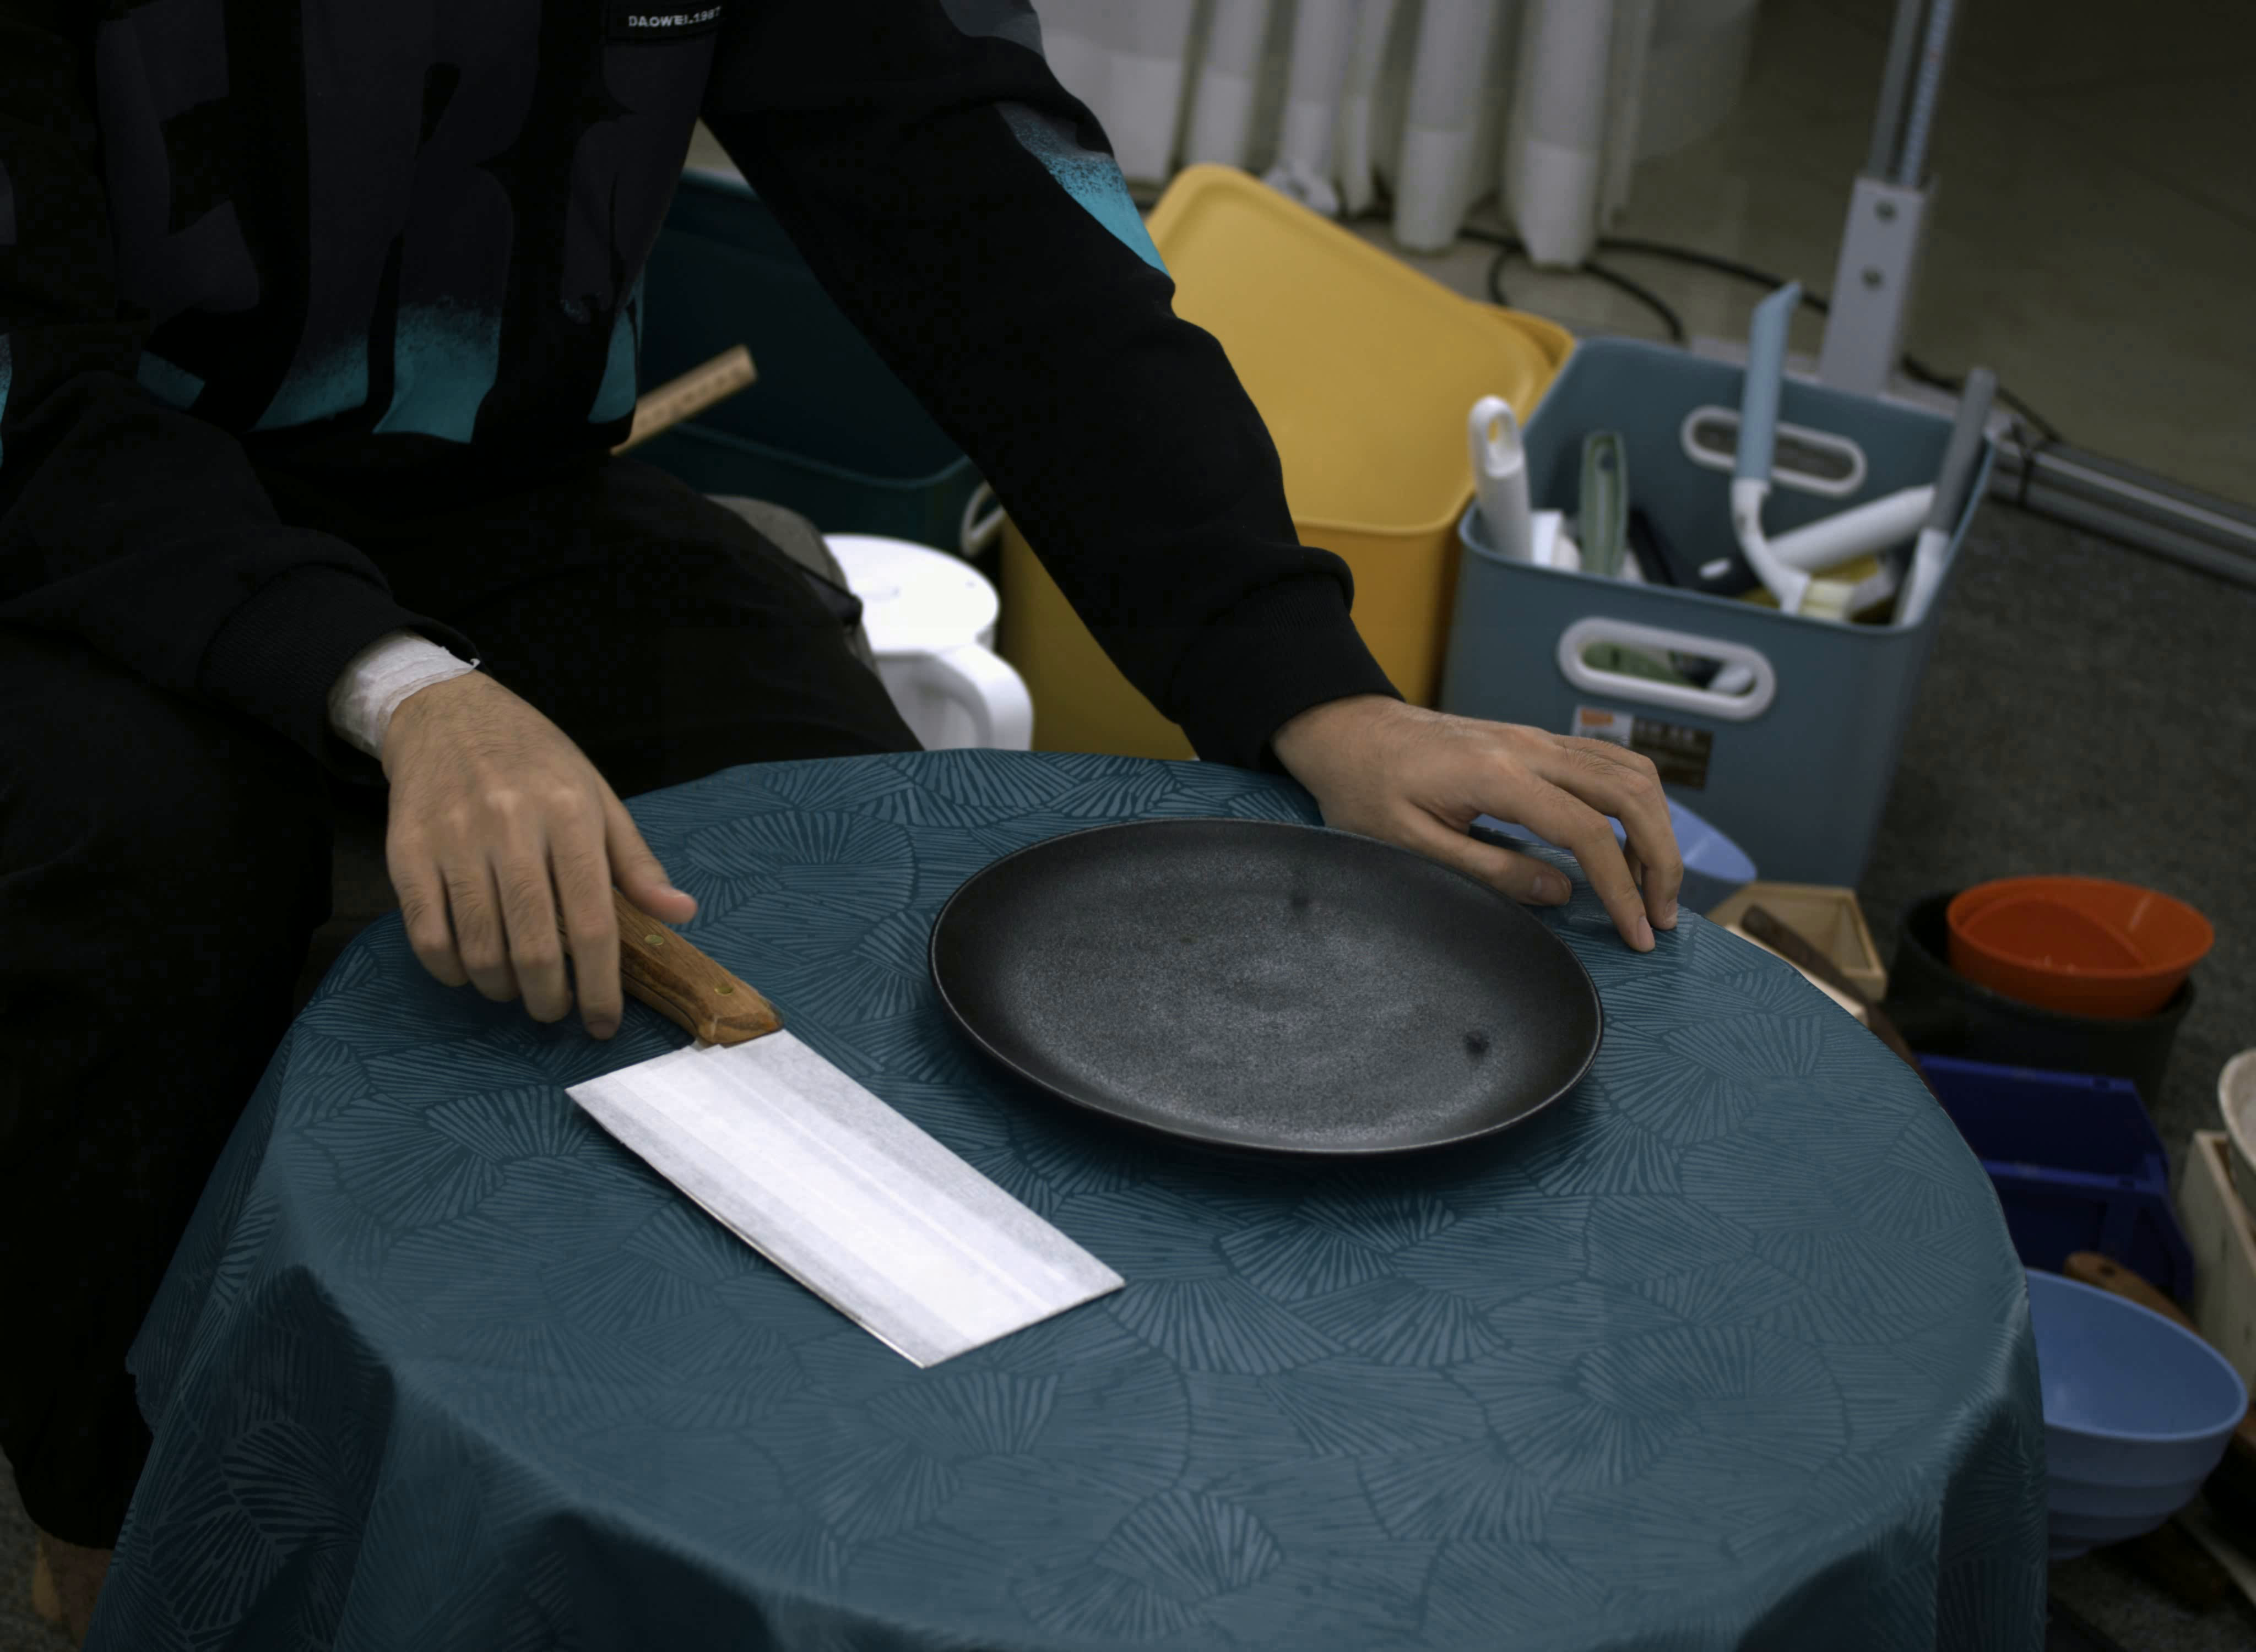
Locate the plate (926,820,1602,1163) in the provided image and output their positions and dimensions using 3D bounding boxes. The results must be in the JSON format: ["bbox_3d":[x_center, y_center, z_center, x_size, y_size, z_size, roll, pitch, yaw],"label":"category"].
[{"bbox_3d":[0.048,0.064,1.904,0.243,0.023,0.246,5,27,-3],"label":"plate"}]

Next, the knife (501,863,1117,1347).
[{"bbox_3d":[-0.133,0.095,1.813,0.092,0.021,0.308,-19,39,-38],"label":"knife"}]
